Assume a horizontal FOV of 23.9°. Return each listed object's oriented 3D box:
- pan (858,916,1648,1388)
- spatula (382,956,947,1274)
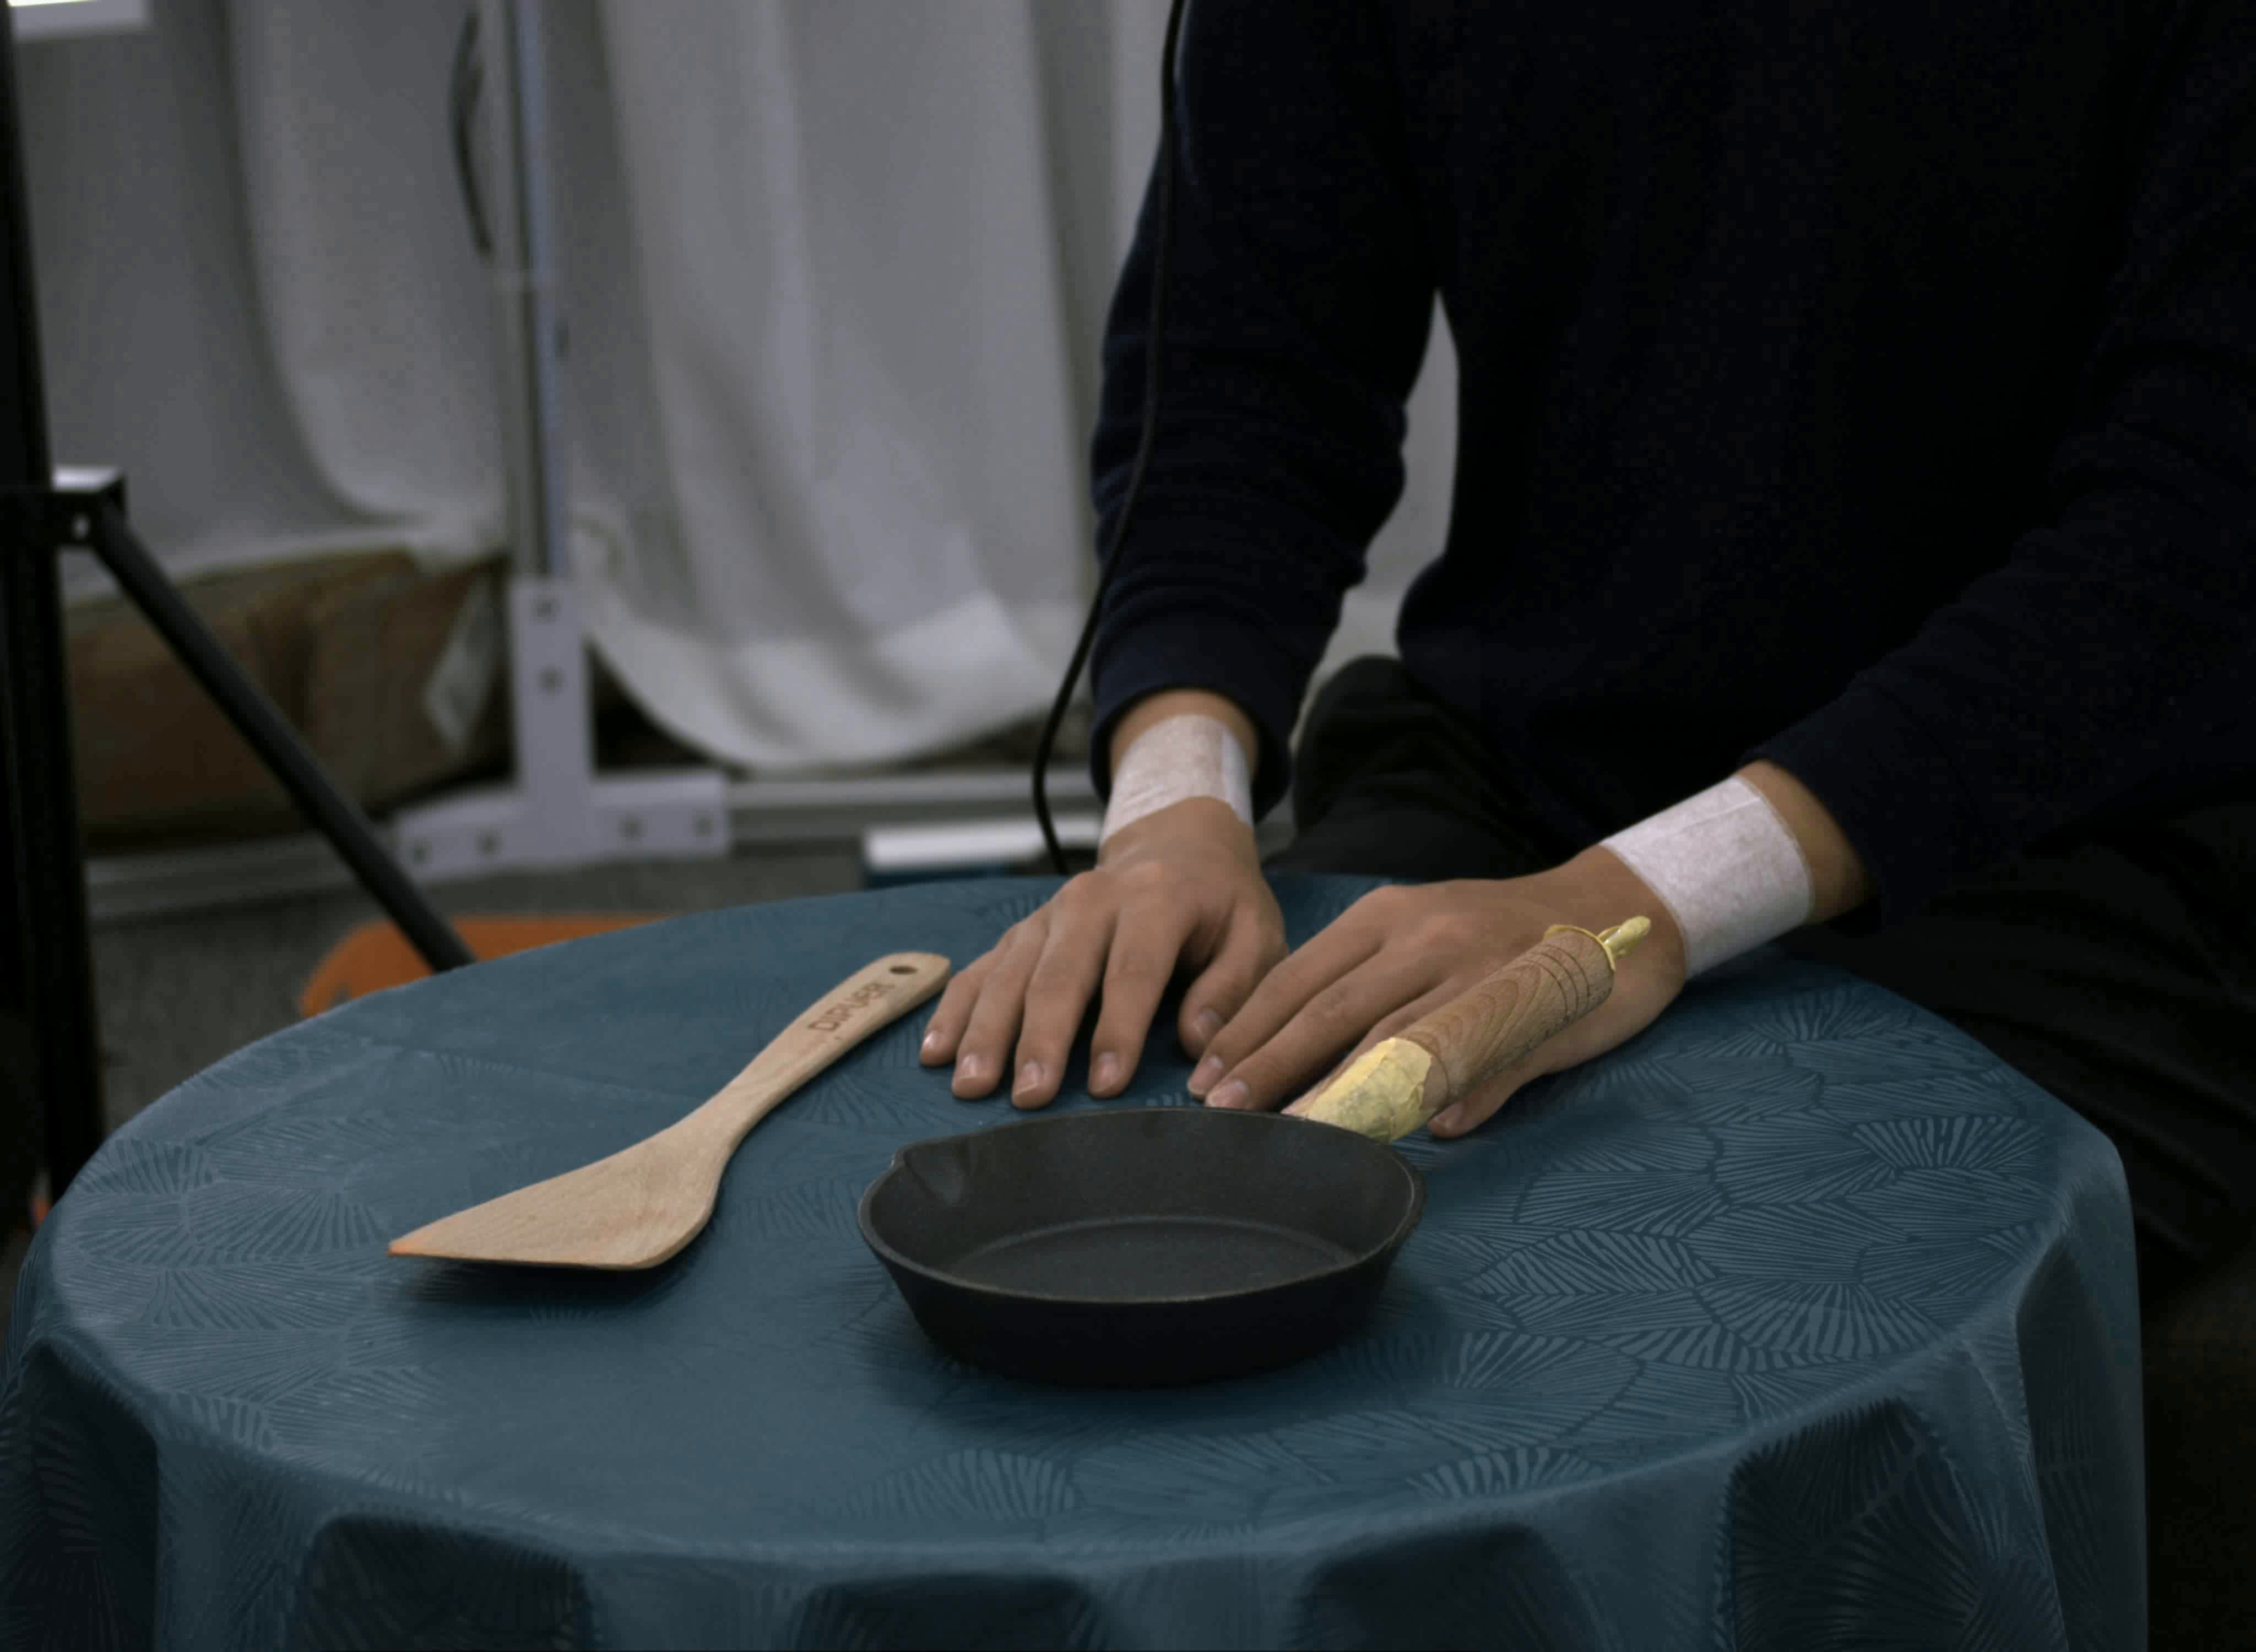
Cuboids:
[{"bbox_3d":[0.058,0.090,1.520,0.172,0.049,0.317,10,22,39],"label":"pan"},{"bbox_3d":[-0.122,0.085,1.629,0.081,0.016,0.324,4,17,20],"label":"spatula"}]
